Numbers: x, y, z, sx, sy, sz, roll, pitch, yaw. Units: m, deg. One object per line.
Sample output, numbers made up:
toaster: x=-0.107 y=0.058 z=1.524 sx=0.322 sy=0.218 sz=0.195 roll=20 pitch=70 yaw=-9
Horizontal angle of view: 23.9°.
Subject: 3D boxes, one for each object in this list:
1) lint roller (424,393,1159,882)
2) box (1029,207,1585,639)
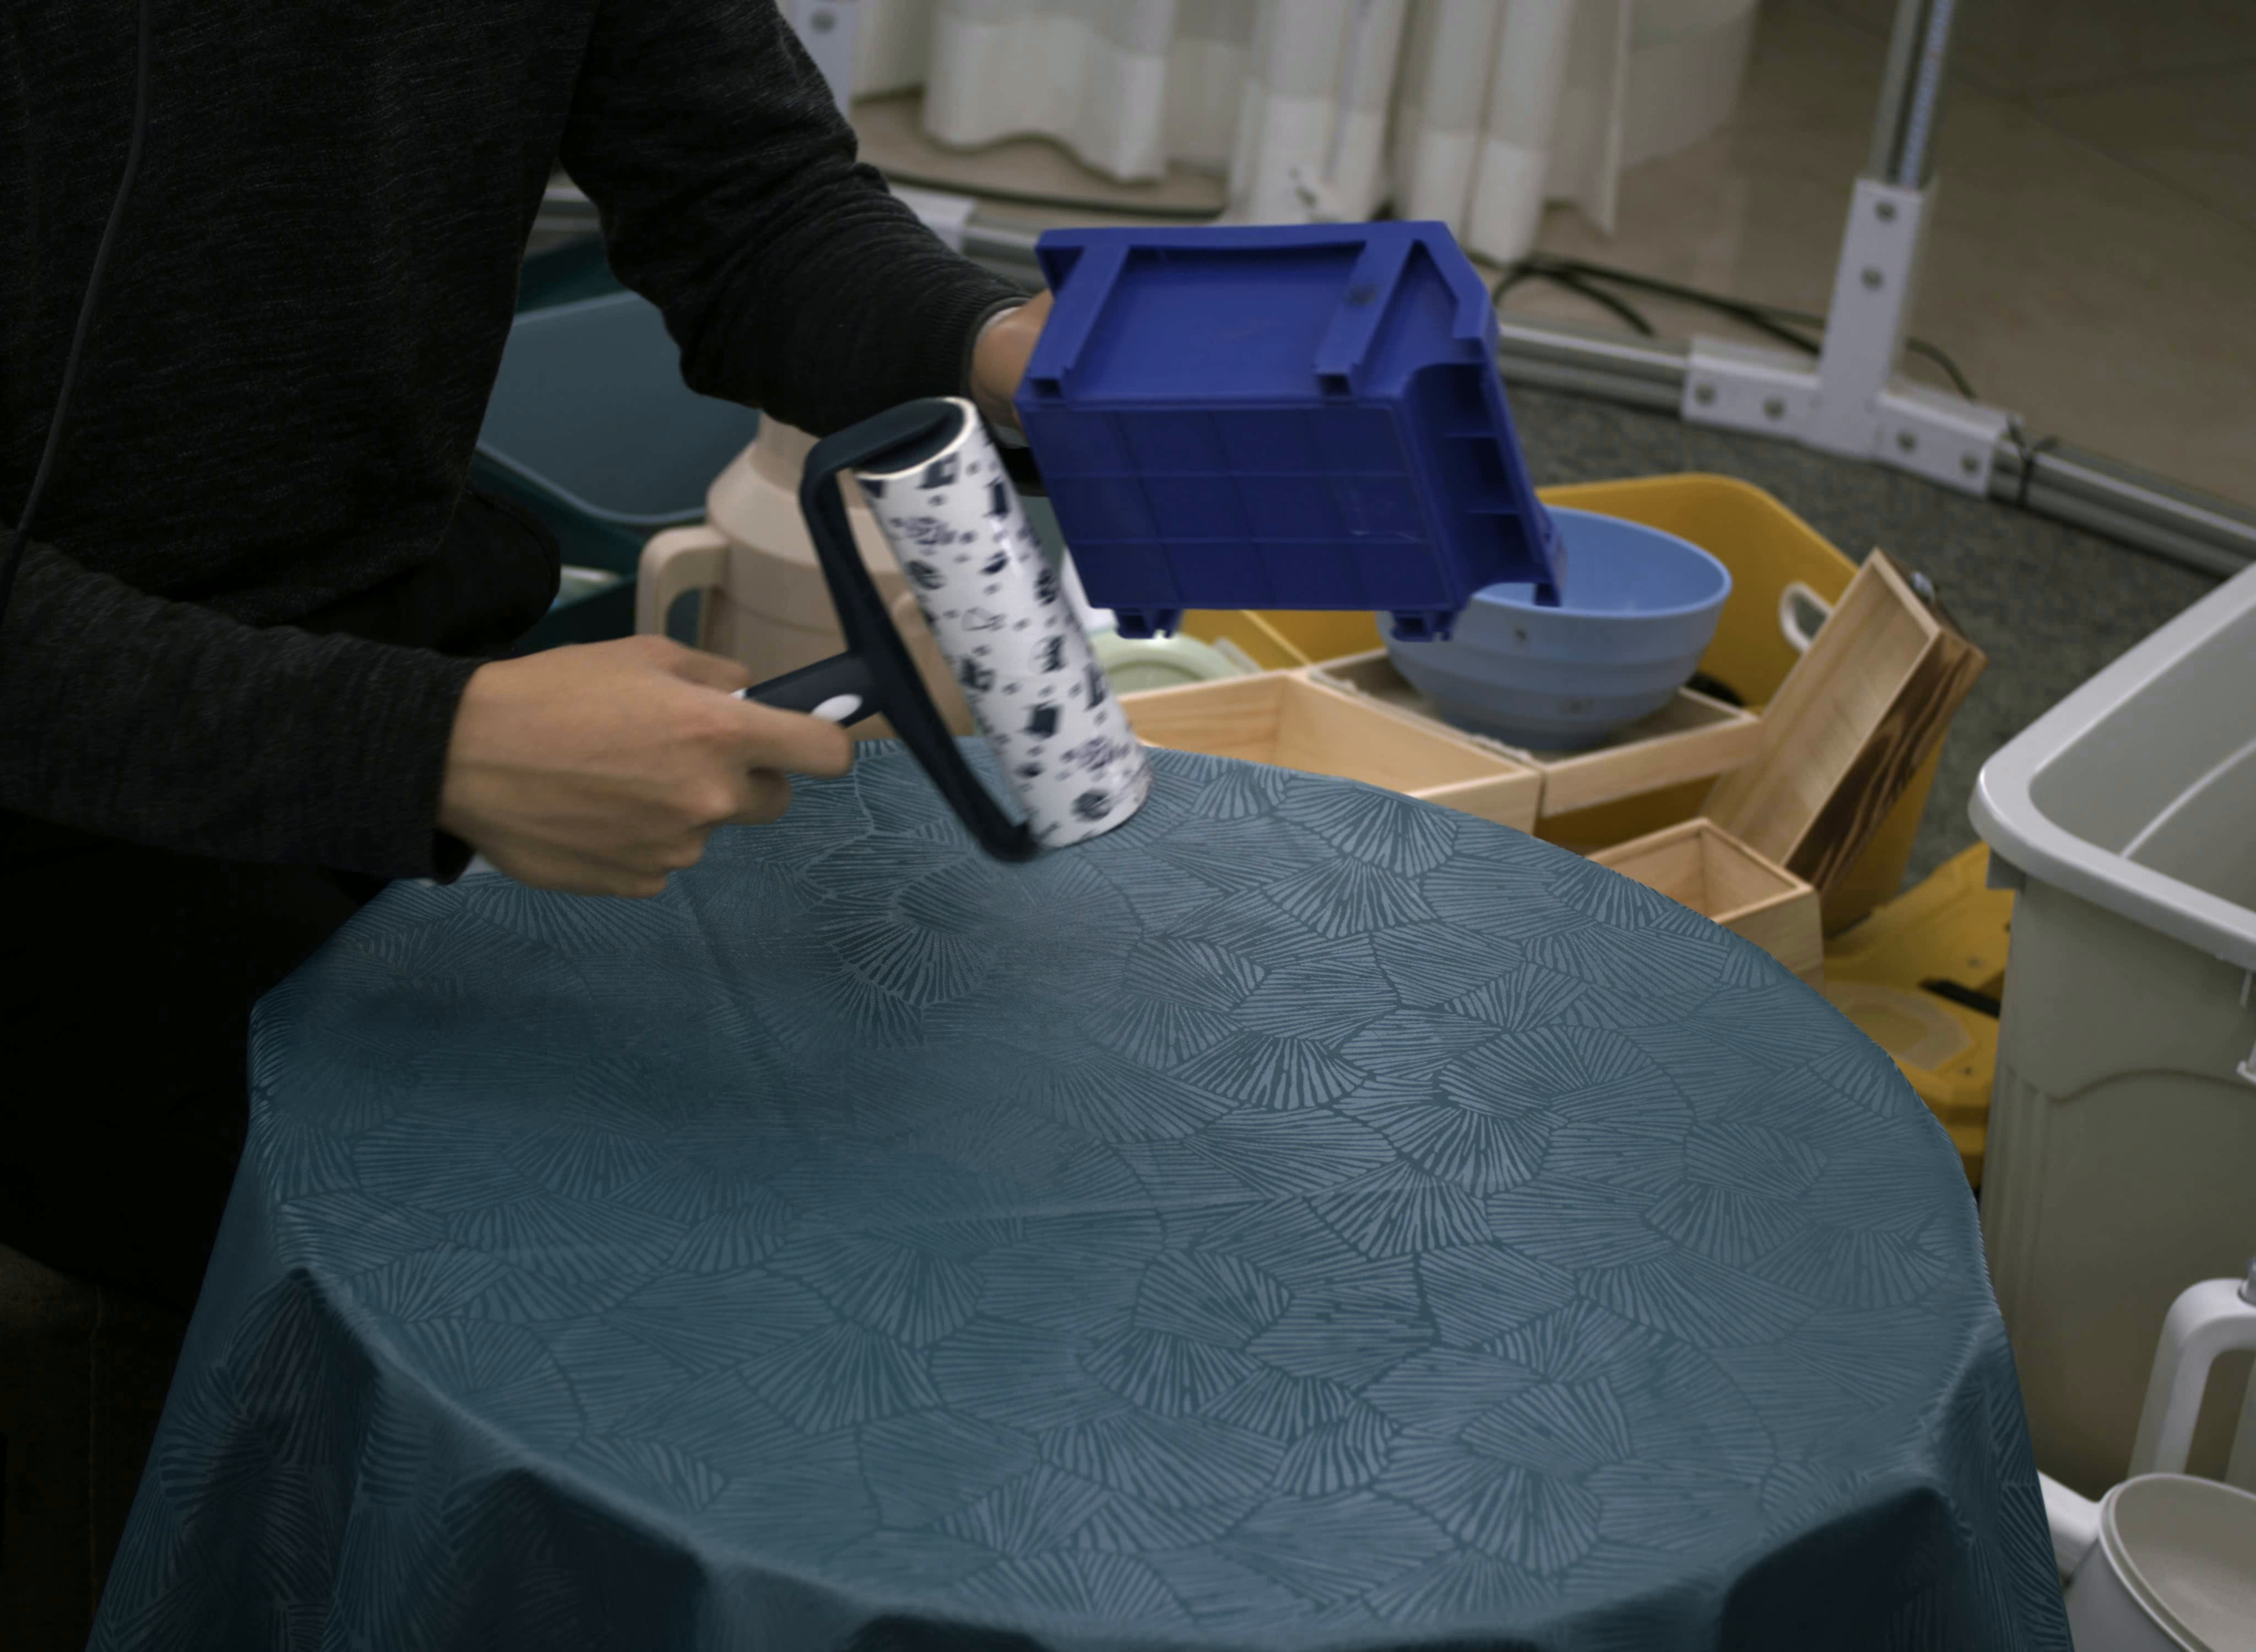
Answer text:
lint roller: x=-0.130 y=-0.030 z=1.841 sx=0.247 sy=0.175 sz=0.051 roll=-25 pitch=32 yaw=7
box: x=0.062 y=-0.135 z=1.815 sx=0.180 sy=0.123 sz=0.082 roll=-1 pitch=42 yaw=24
